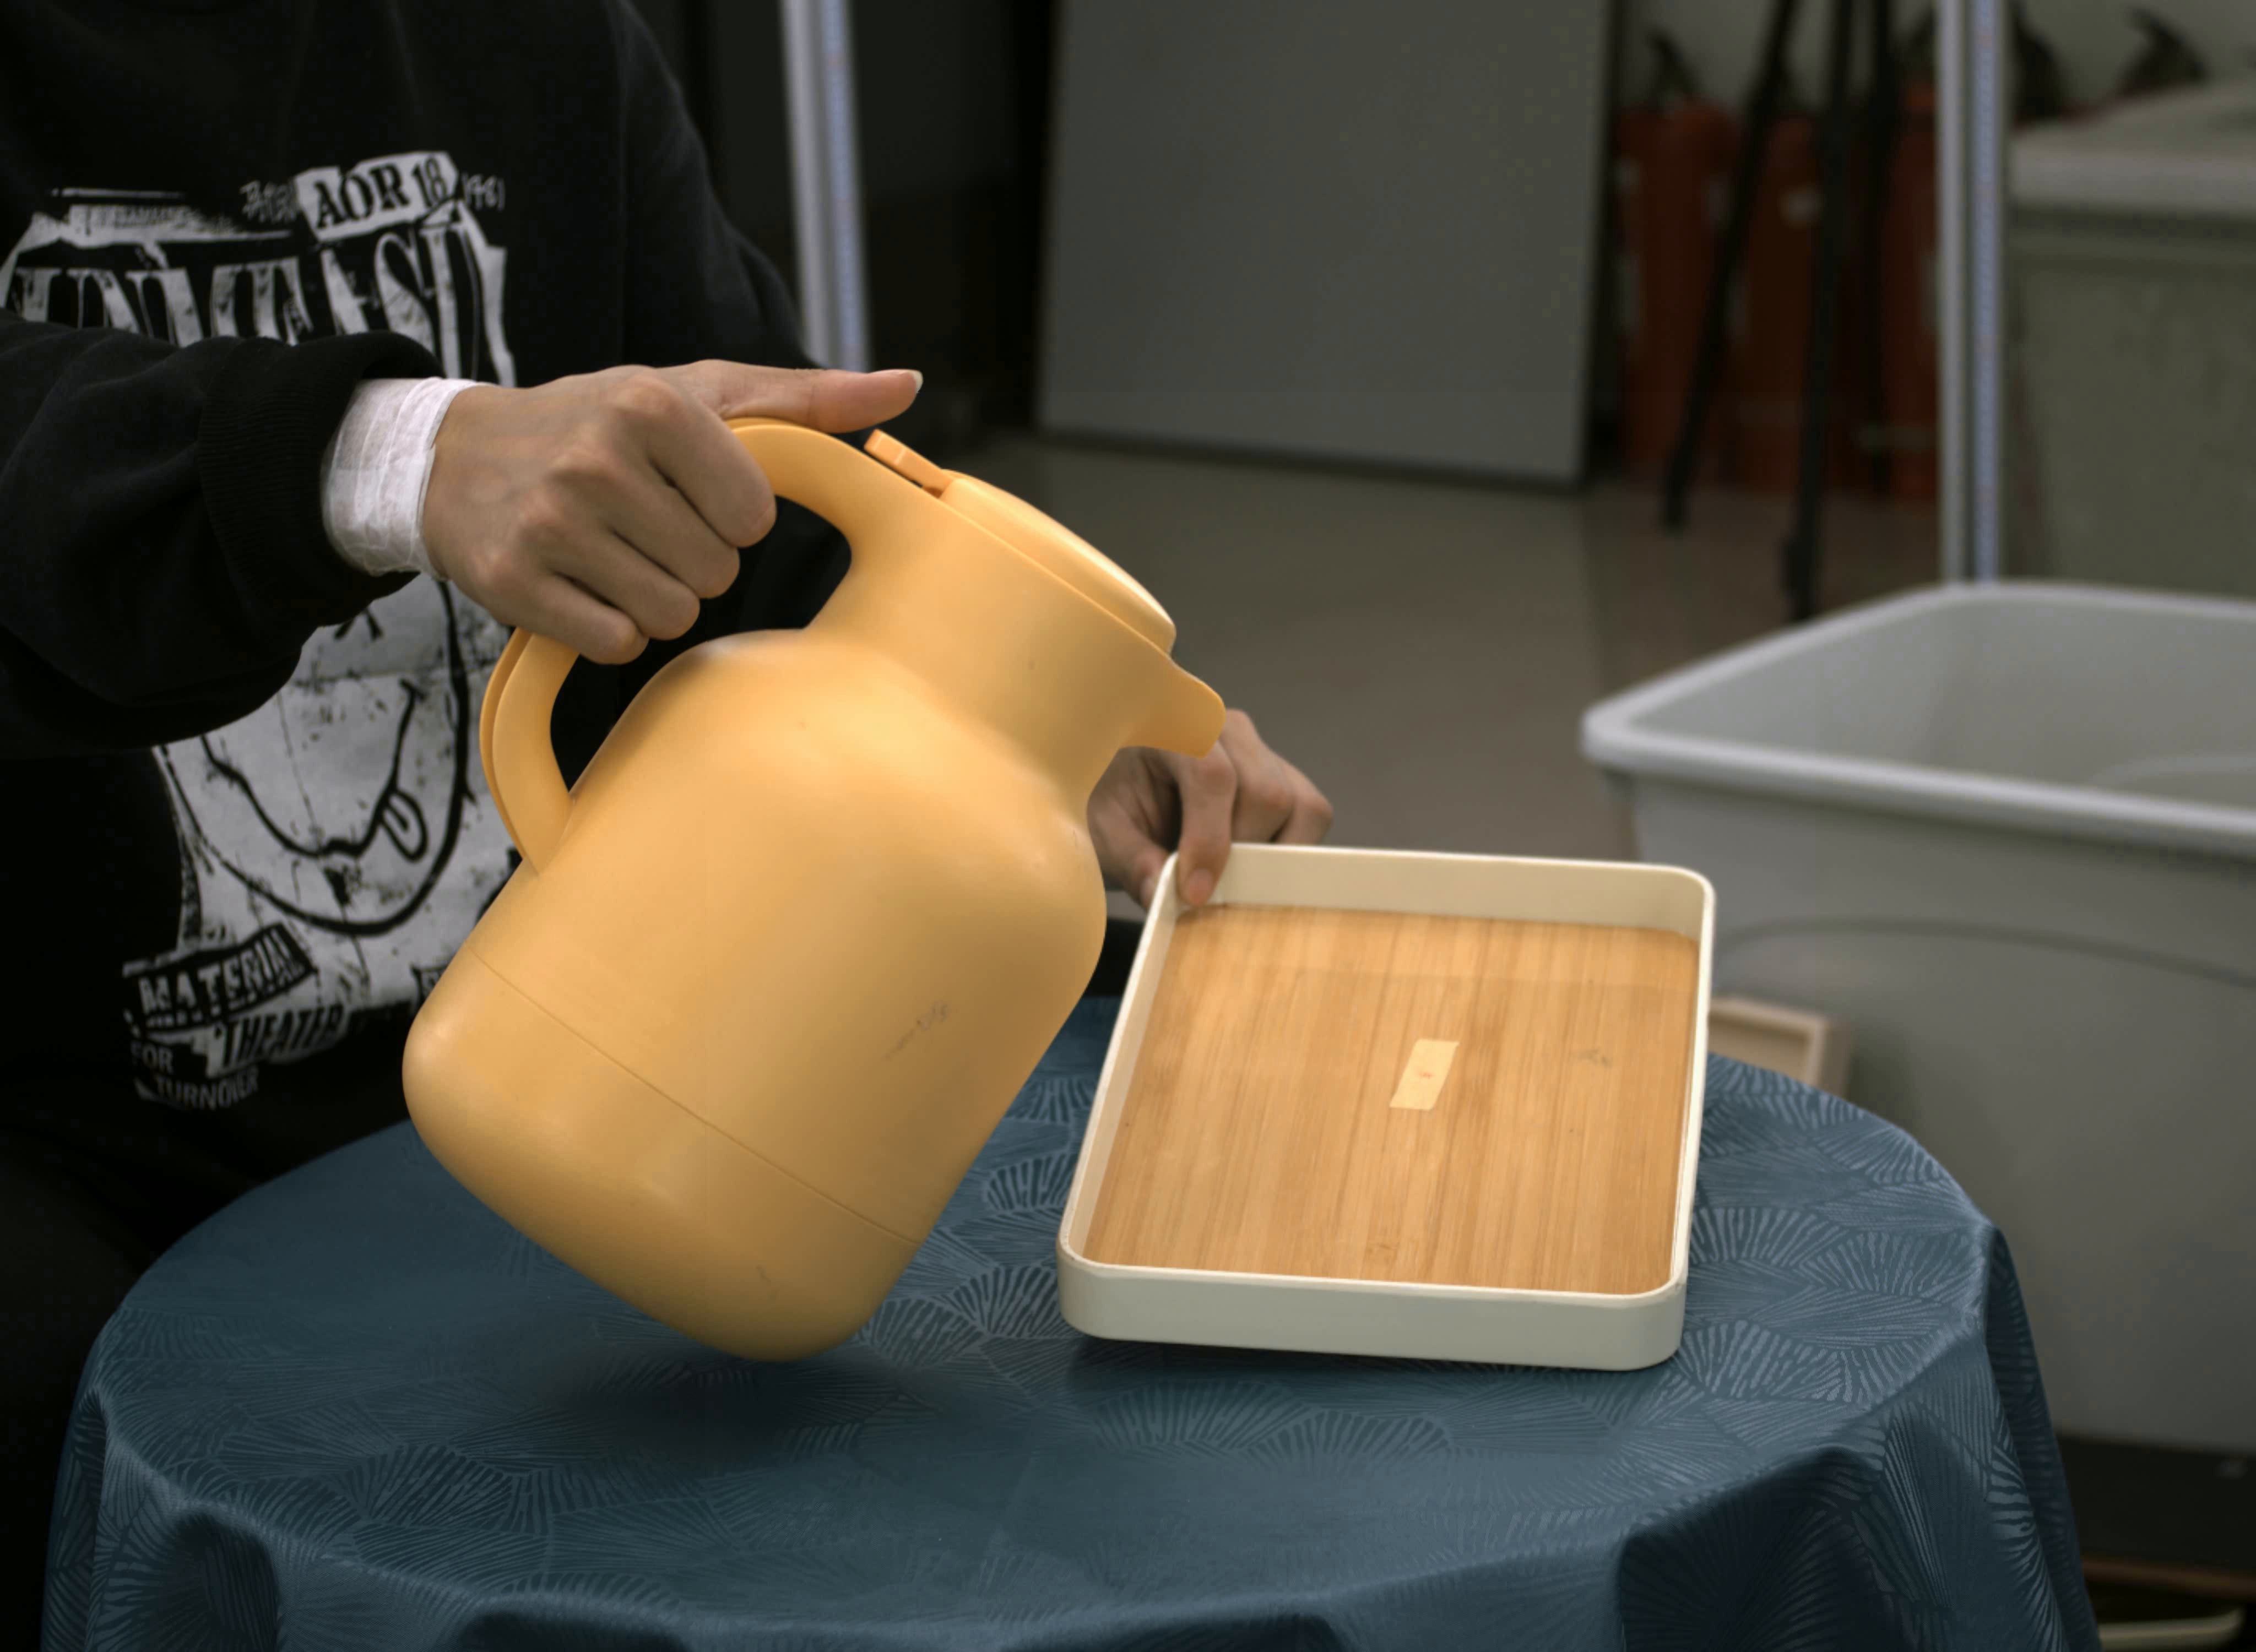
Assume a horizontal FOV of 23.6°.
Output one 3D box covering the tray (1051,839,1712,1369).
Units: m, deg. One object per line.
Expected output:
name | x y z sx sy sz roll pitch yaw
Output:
tray | 0.087 0.083 1.715 0.190 0.027 0.300 2 25 8

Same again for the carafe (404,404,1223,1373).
carafe | -0.104 0.009 1.589 0.200 0.261 0.164 33 -3 -15
